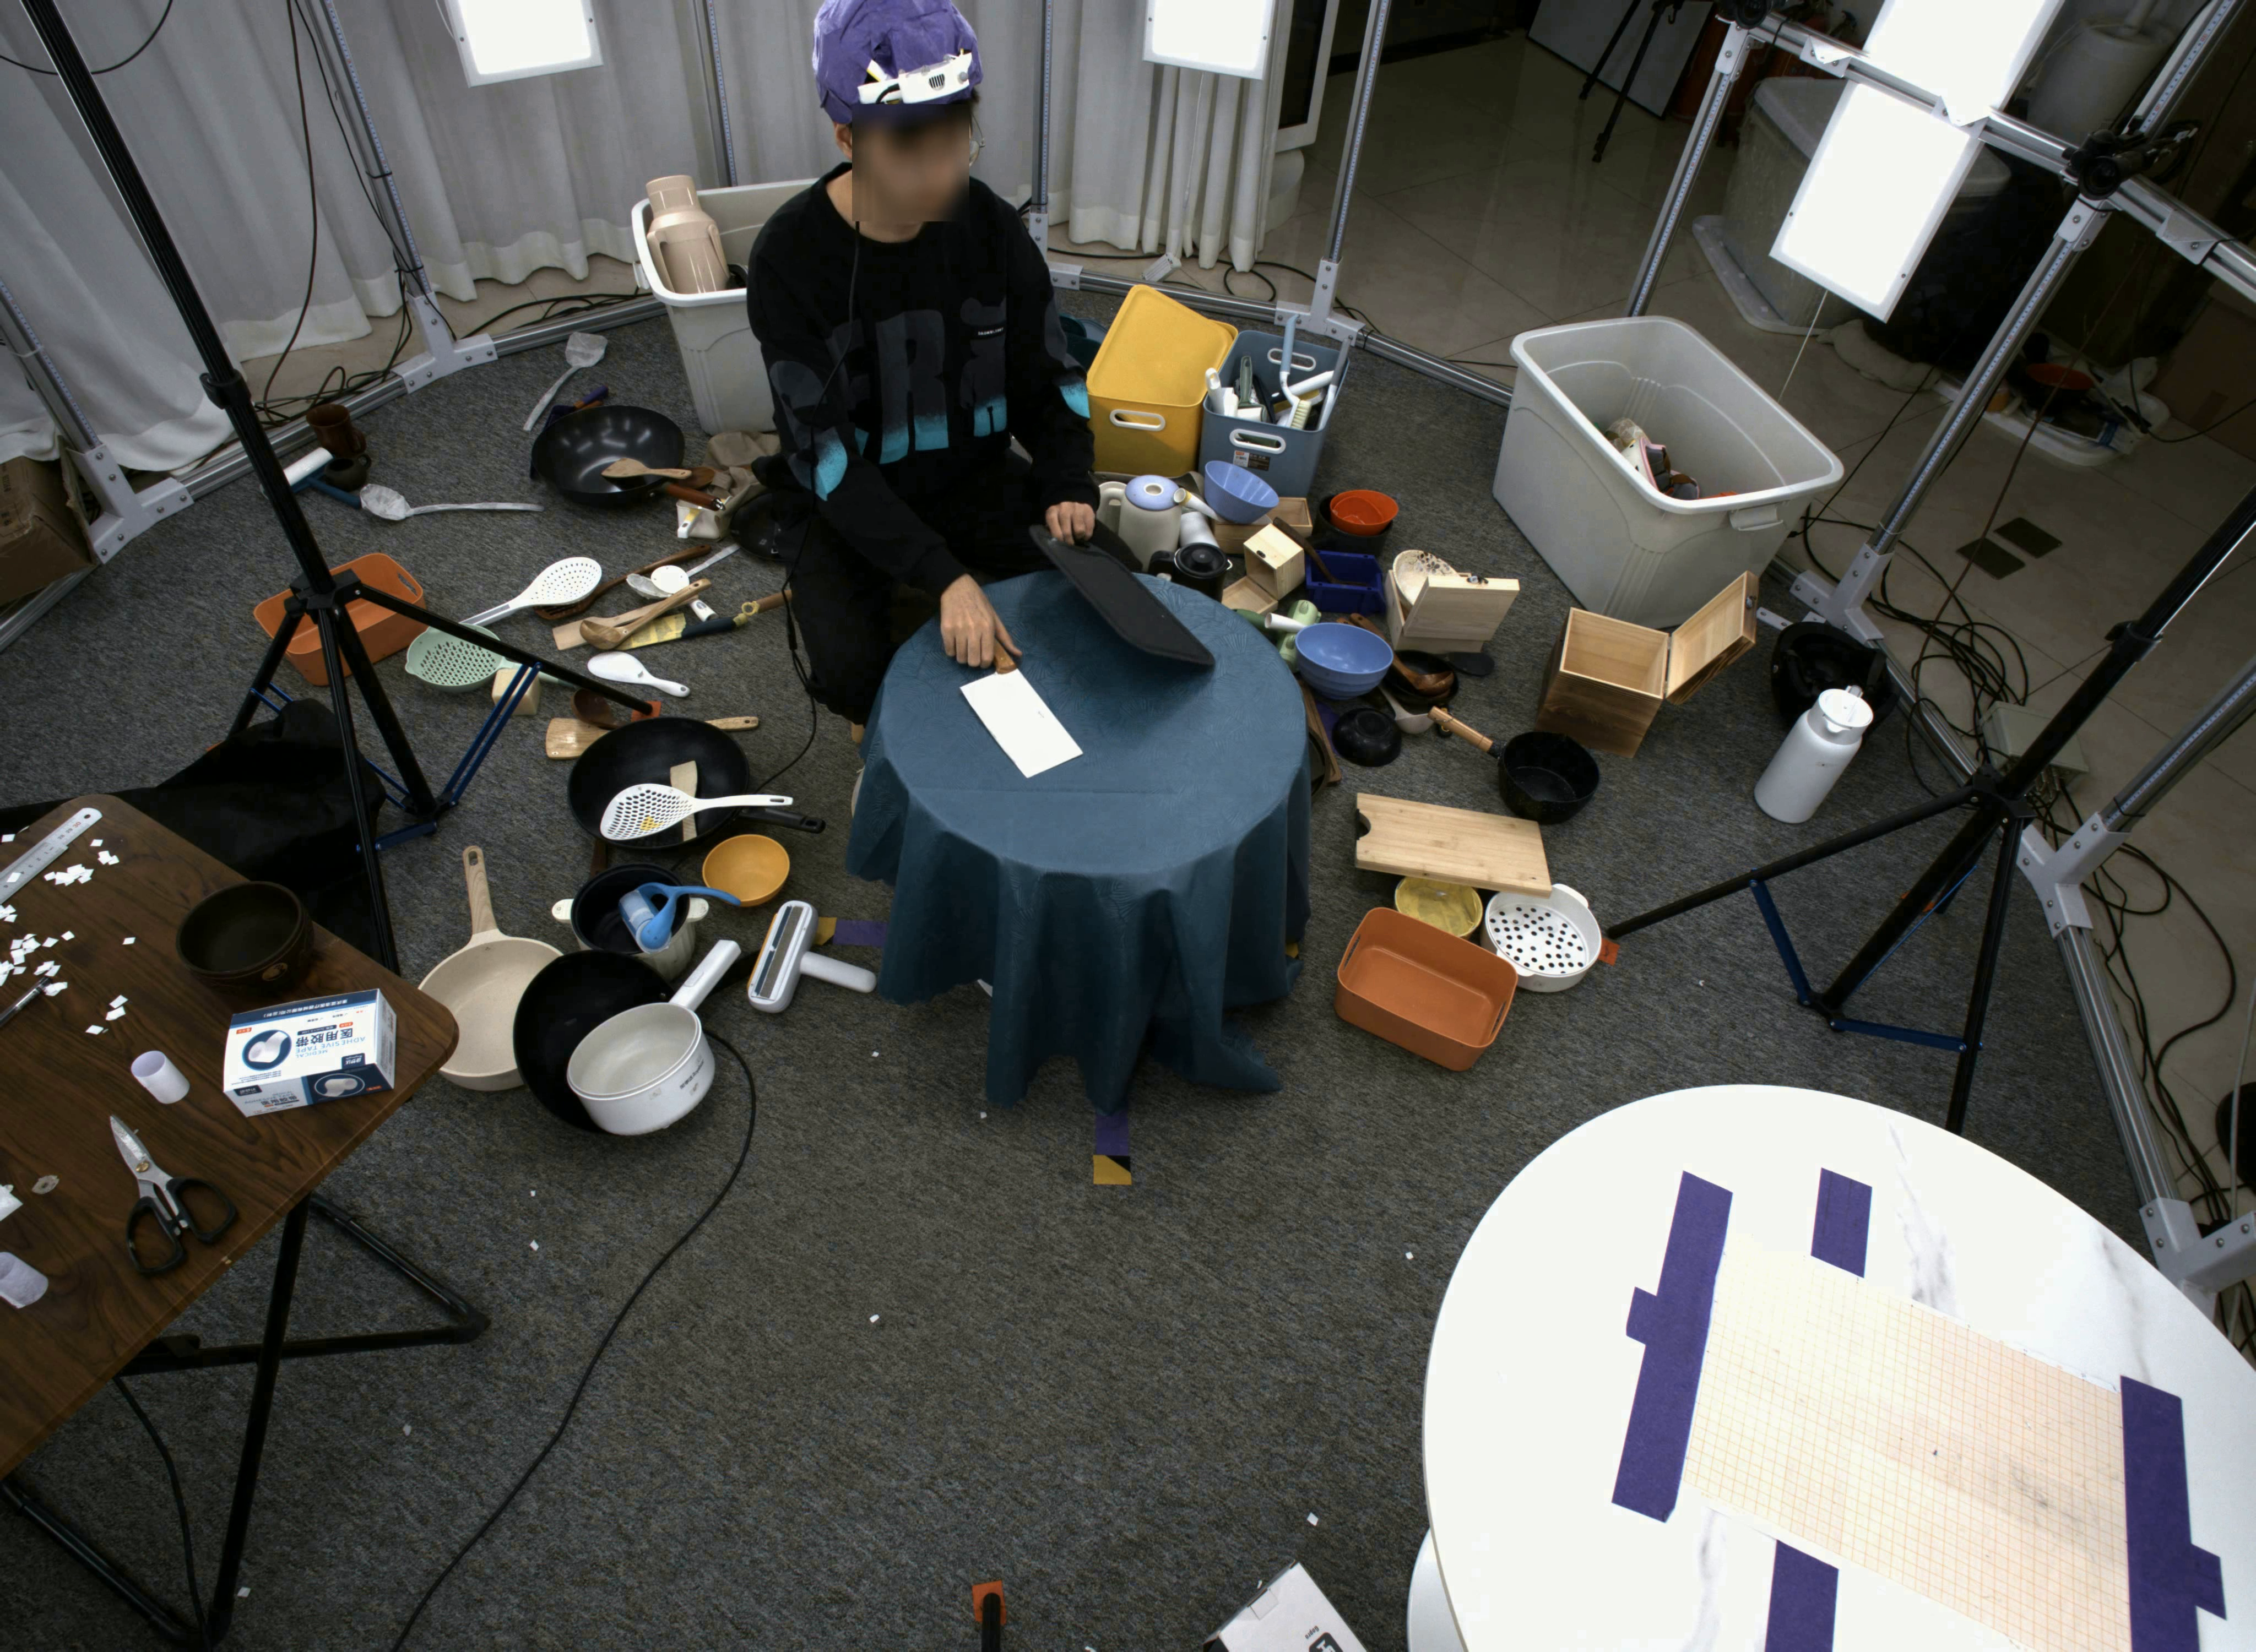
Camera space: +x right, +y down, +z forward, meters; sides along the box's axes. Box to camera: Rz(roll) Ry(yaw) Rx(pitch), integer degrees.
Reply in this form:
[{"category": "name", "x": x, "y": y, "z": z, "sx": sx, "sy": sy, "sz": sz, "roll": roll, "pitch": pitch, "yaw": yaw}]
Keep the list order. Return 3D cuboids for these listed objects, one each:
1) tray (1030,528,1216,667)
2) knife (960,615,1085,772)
[{"category": "tray", "x": -0.012, "y": -0.342, "z": 1.886, "sx": 0.210, "sy": 0.009, "sz": 0.332, "roll": 3, "pitch": 39, "yaw": -47}, {"category": "knife", "x": -0.174, "y": -0.188, "z": 1.810, "sx": 0.093, "sy": 0.020, "sz": 0.312, "roll": -24, "pitch": 57, "yaw": -21}]
